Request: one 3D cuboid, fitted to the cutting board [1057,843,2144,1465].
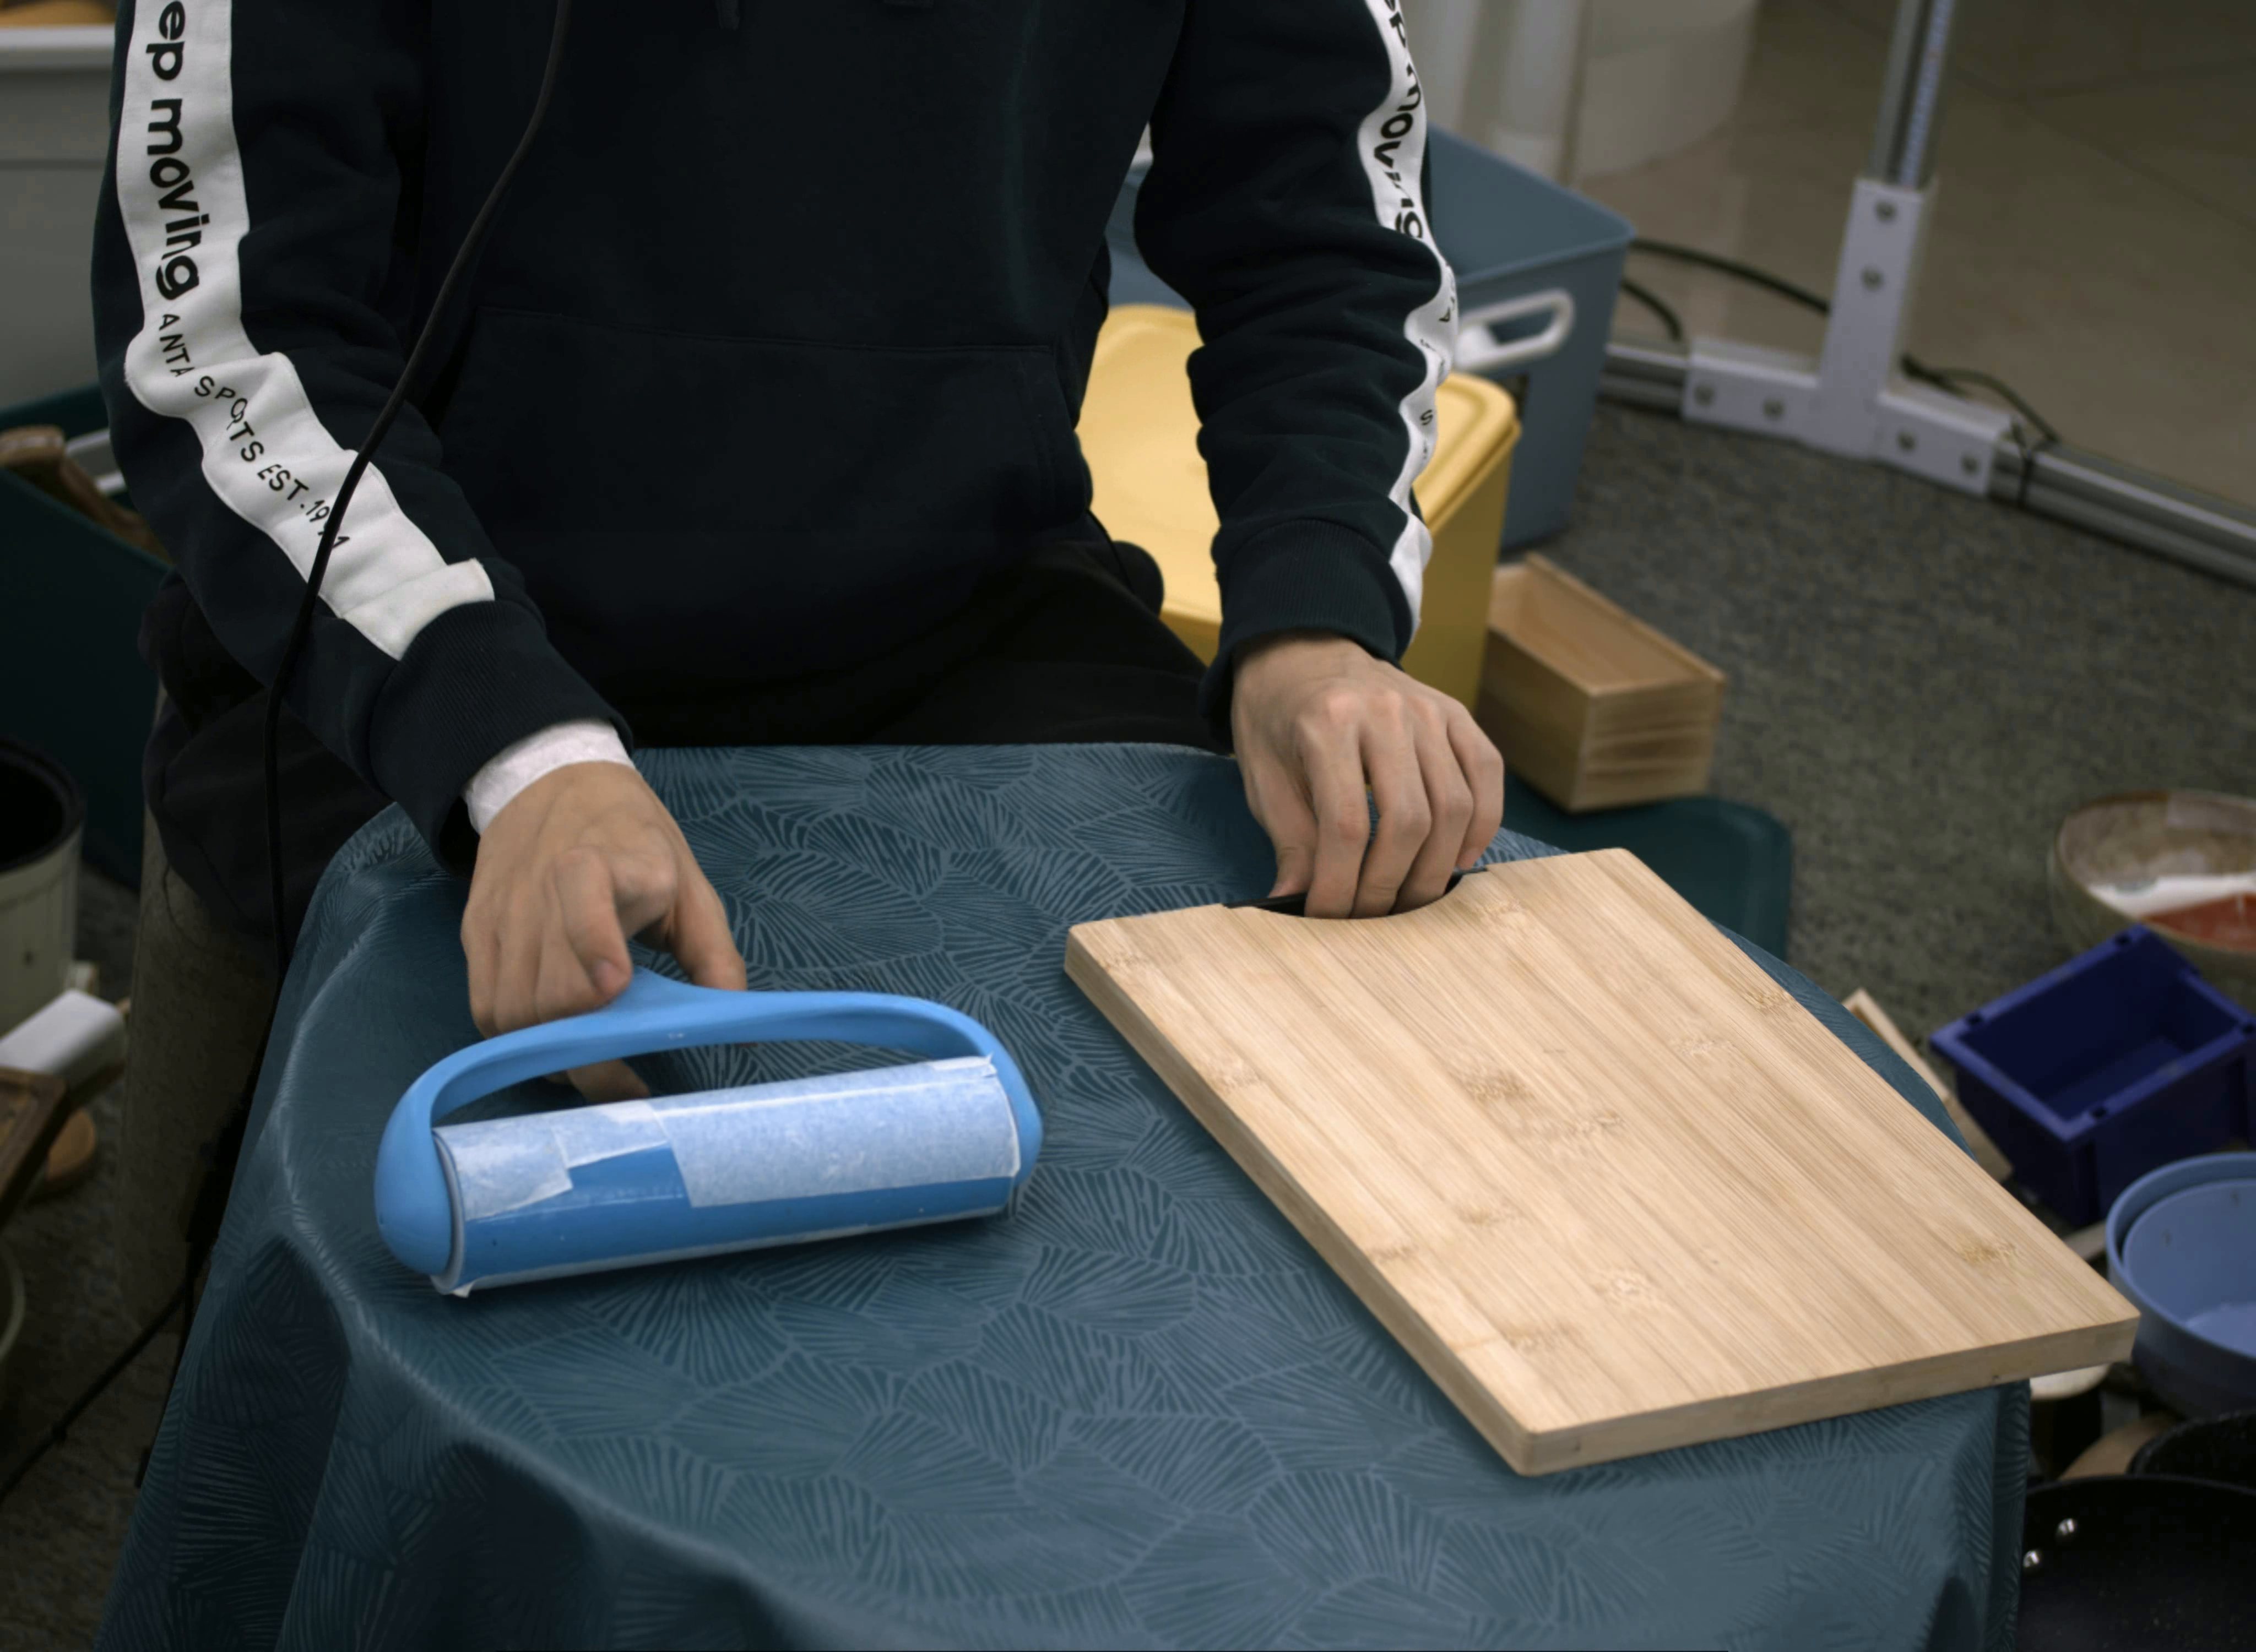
[{"bbox_3d":[0.155,0.106,1.850,0.249,0.023,0.352,-8,30,-26],"label":"cutting board"}]

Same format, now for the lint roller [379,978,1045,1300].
[{"bbox_3d":[-0.159,0.085,1.775,0.227,0.067,0.182,-9,31,-26],"label":"lint roller"}]
